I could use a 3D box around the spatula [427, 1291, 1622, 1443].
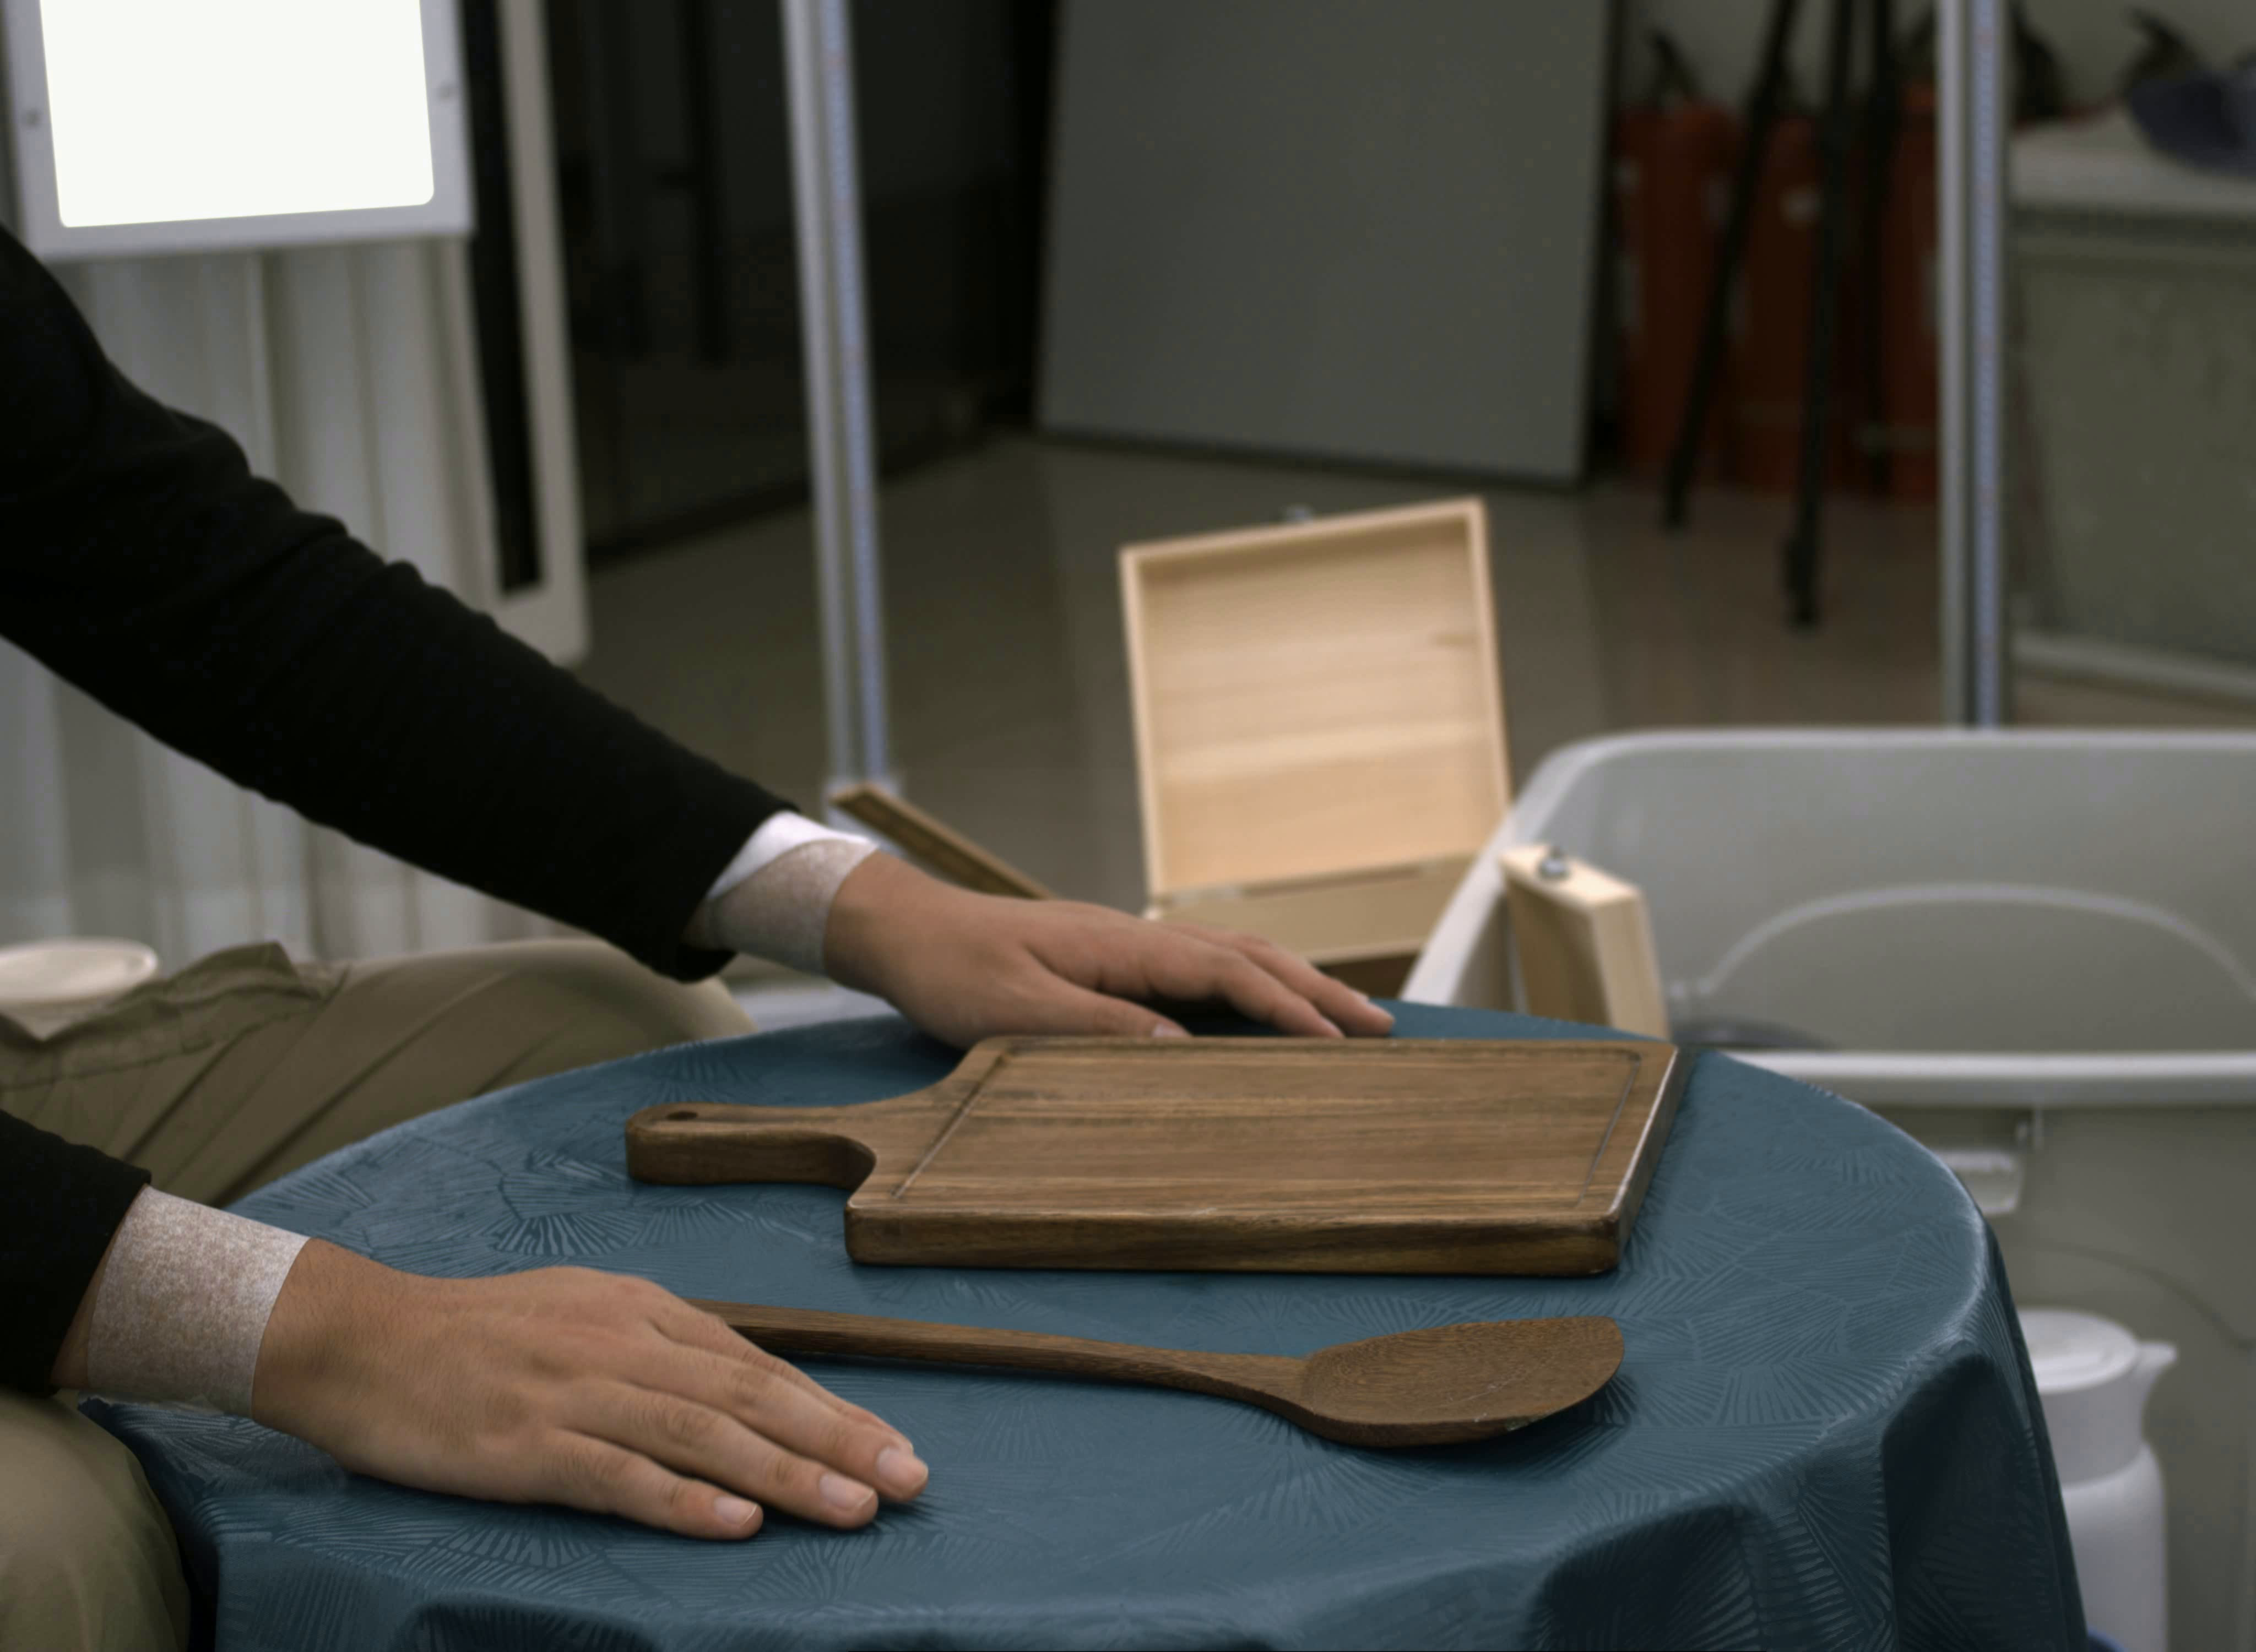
[{"bbox_3d":[-0.040,0.156,1.608,0.386,0.016,0.095,1,14,23],"label":"spatula"}]

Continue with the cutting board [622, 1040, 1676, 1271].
[{"bbox_3d":[0.001,0.107,1.783,0.350,0.023,0.200,-1,14,14],"label":"cutting board"}]
